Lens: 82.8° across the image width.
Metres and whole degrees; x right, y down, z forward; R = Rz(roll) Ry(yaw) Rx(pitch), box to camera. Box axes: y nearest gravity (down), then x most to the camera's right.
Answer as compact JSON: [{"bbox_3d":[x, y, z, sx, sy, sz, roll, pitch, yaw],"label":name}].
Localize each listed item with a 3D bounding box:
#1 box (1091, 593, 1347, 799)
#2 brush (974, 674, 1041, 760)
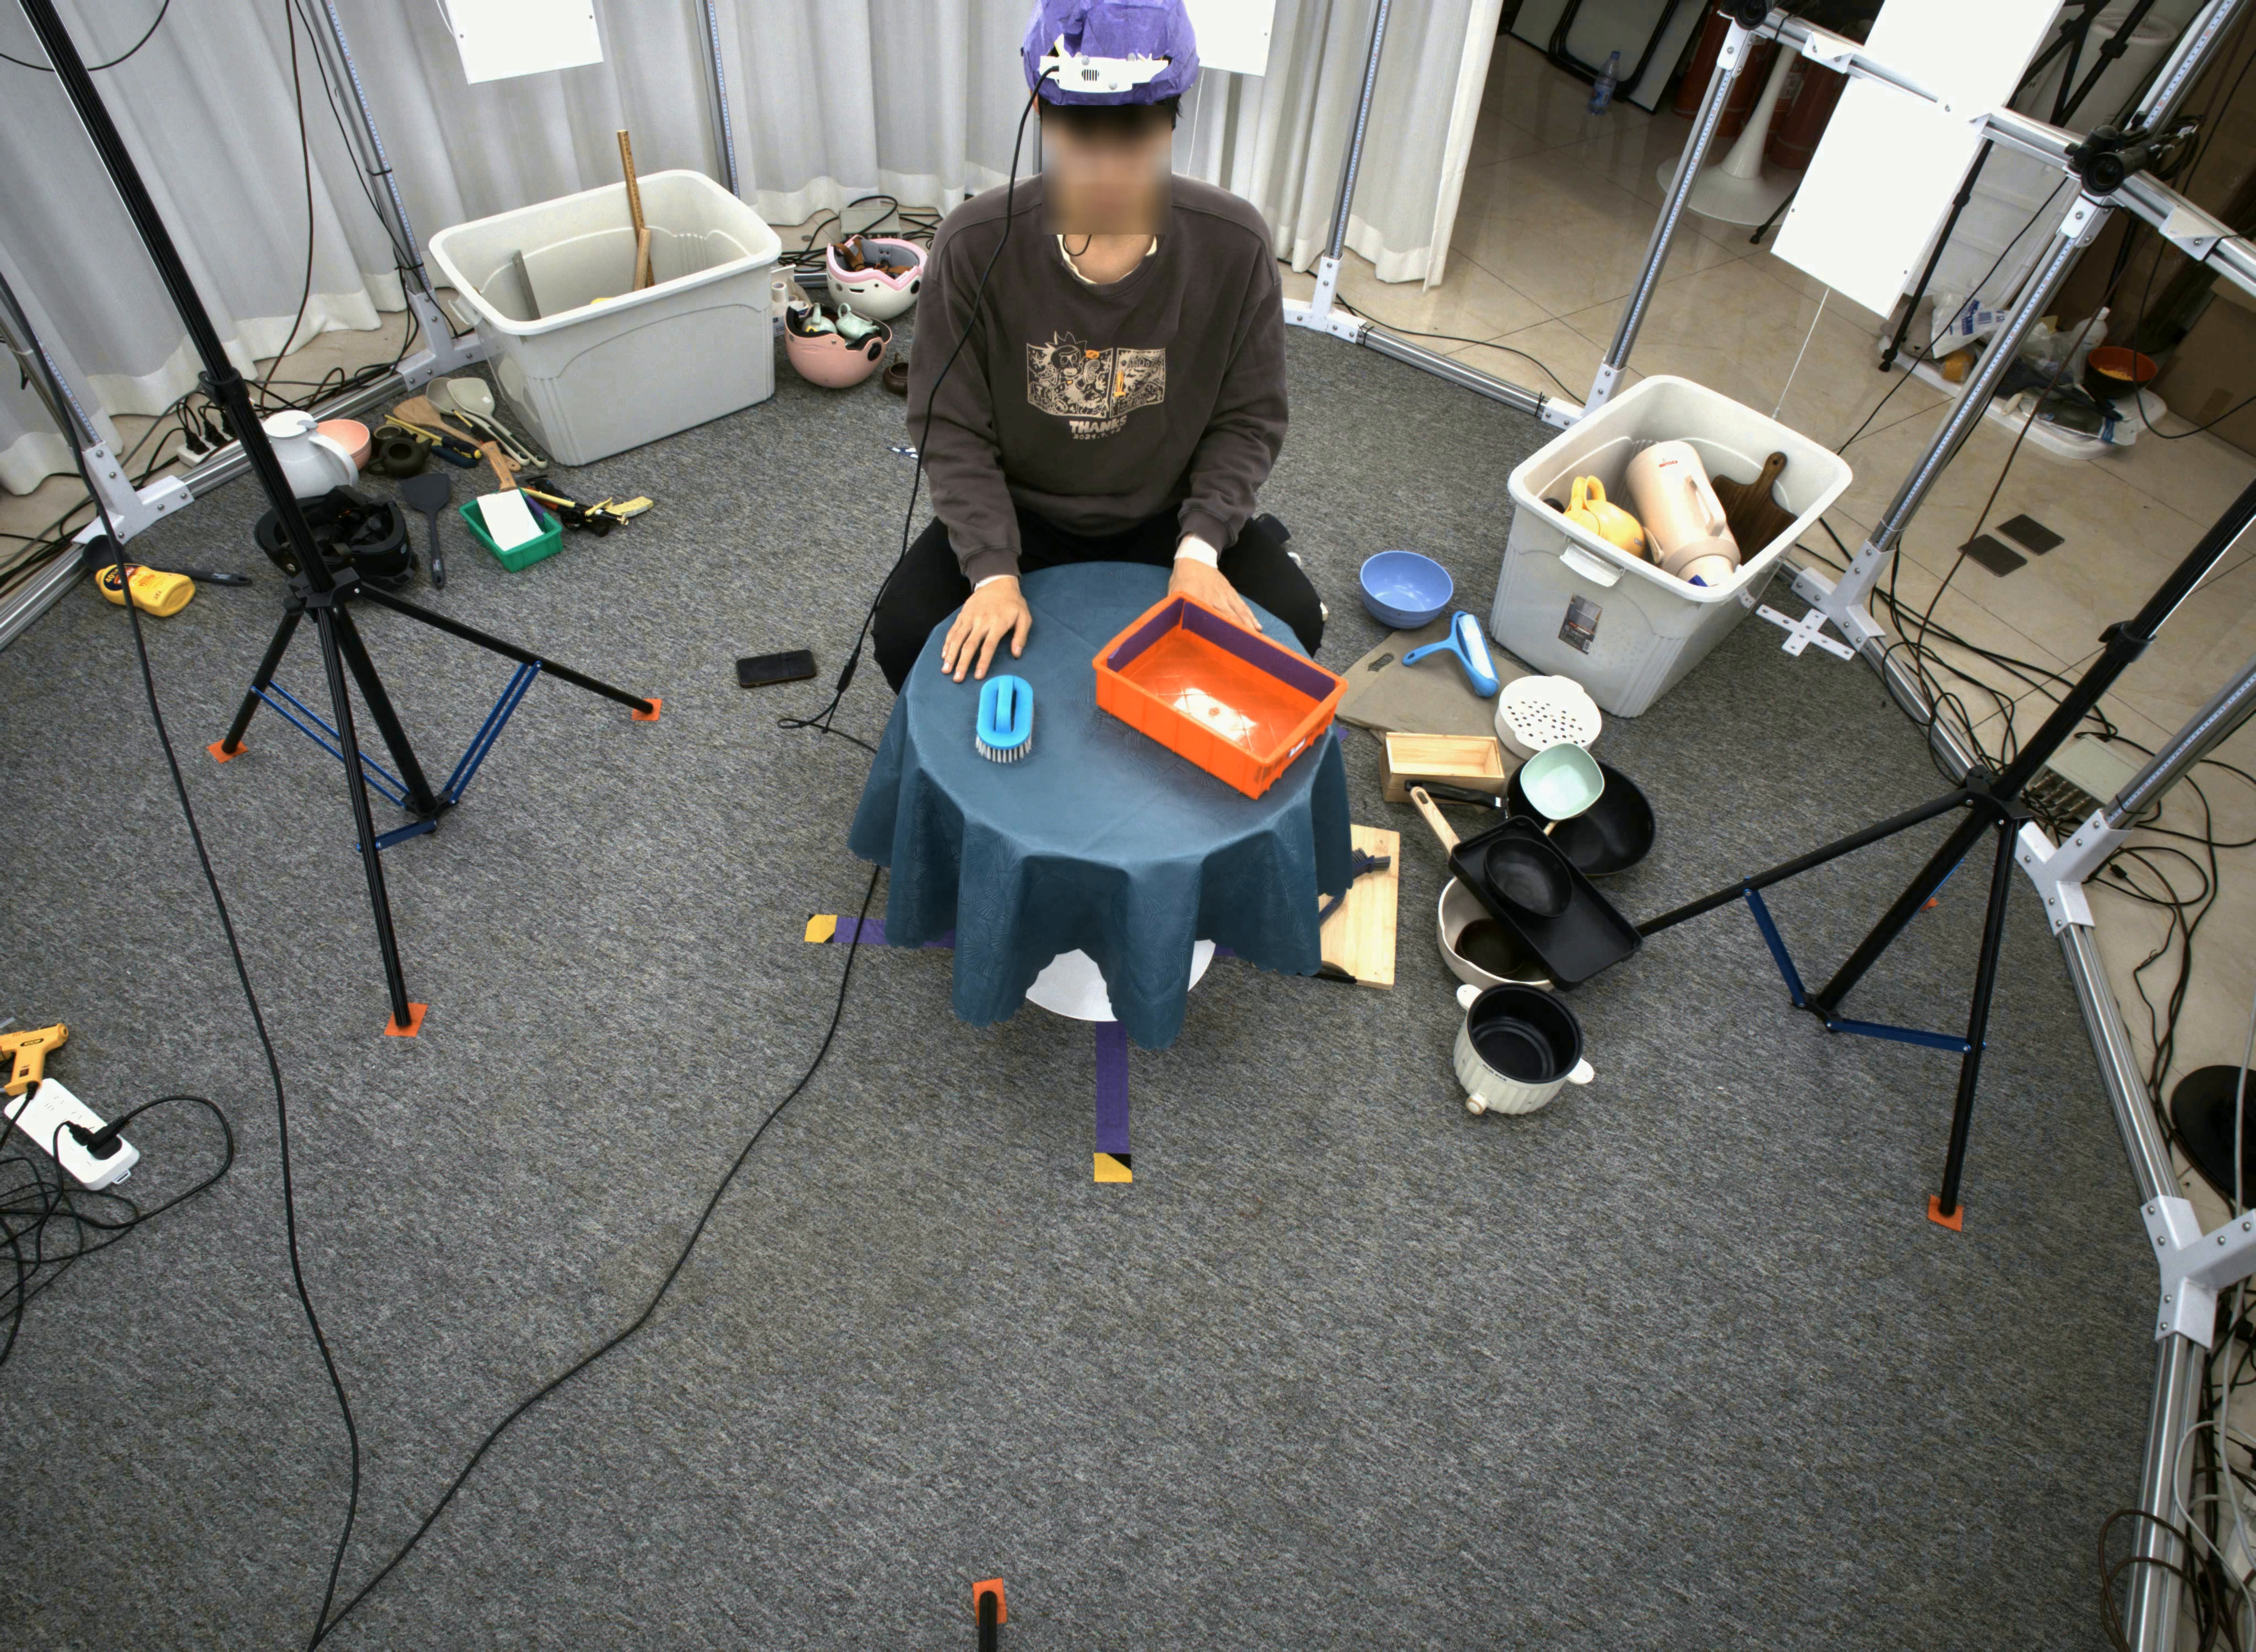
[{"bbox_3d":[0.122,-0.182,1.776,0.307,0.094,0.209,33,55,23],"label":"box"},{"bbox_3d":[-0.164,-0.160,1.752,0.084,0.062,0.145,1,48,3],"label":"brush"}]
